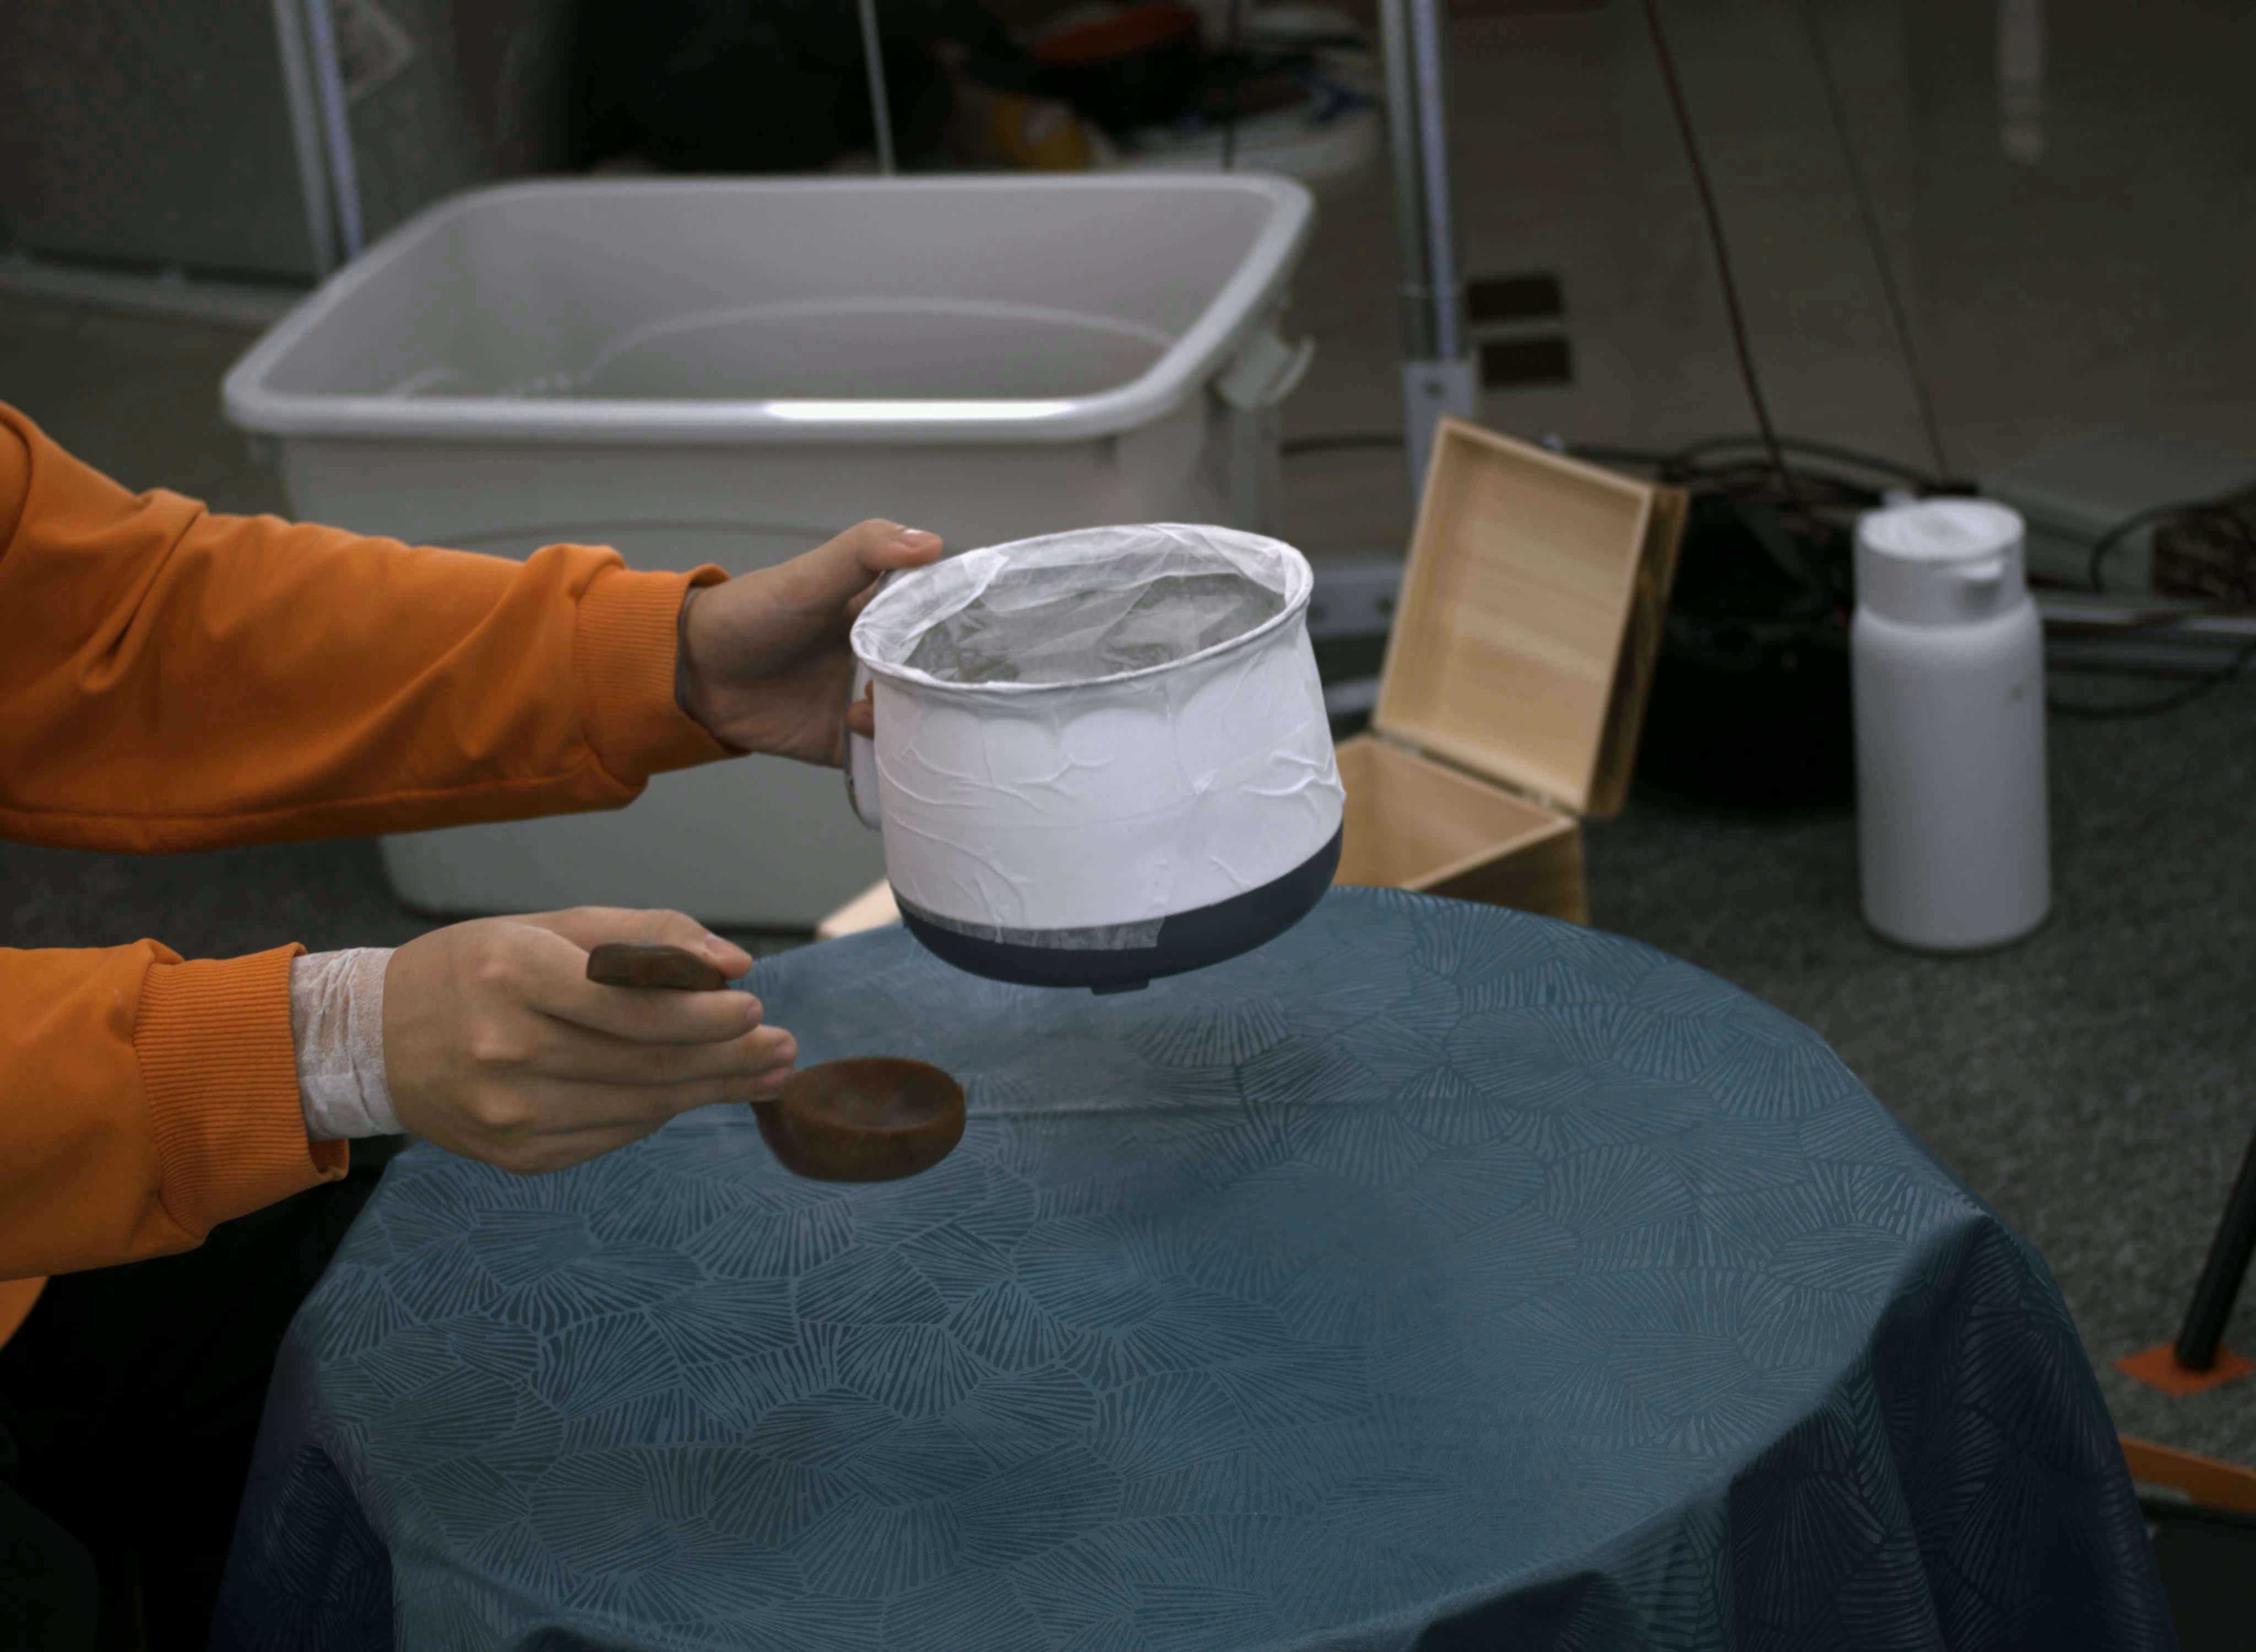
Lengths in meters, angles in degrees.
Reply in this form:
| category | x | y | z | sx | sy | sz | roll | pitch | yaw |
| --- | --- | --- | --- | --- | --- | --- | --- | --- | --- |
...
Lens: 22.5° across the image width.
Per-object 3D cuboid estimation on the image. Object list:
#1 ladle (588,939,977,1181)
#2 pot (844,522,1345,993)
| category | x | y | z | sx | sy | sz | roll | pitch | yaw |
| --- | --- | --- | --- | --- | --- | --- | --- | --- | --- |
| ladle | -0.119 | 0.064 | 1.884 | 0.076 | 0.263 | 0.064 | 0 | 69 | 19 |
| pot | -0.028 | -0.031 | 2.174 | 0.232 | 0.138 | 0.177 | 14 | 30 | 44 |
